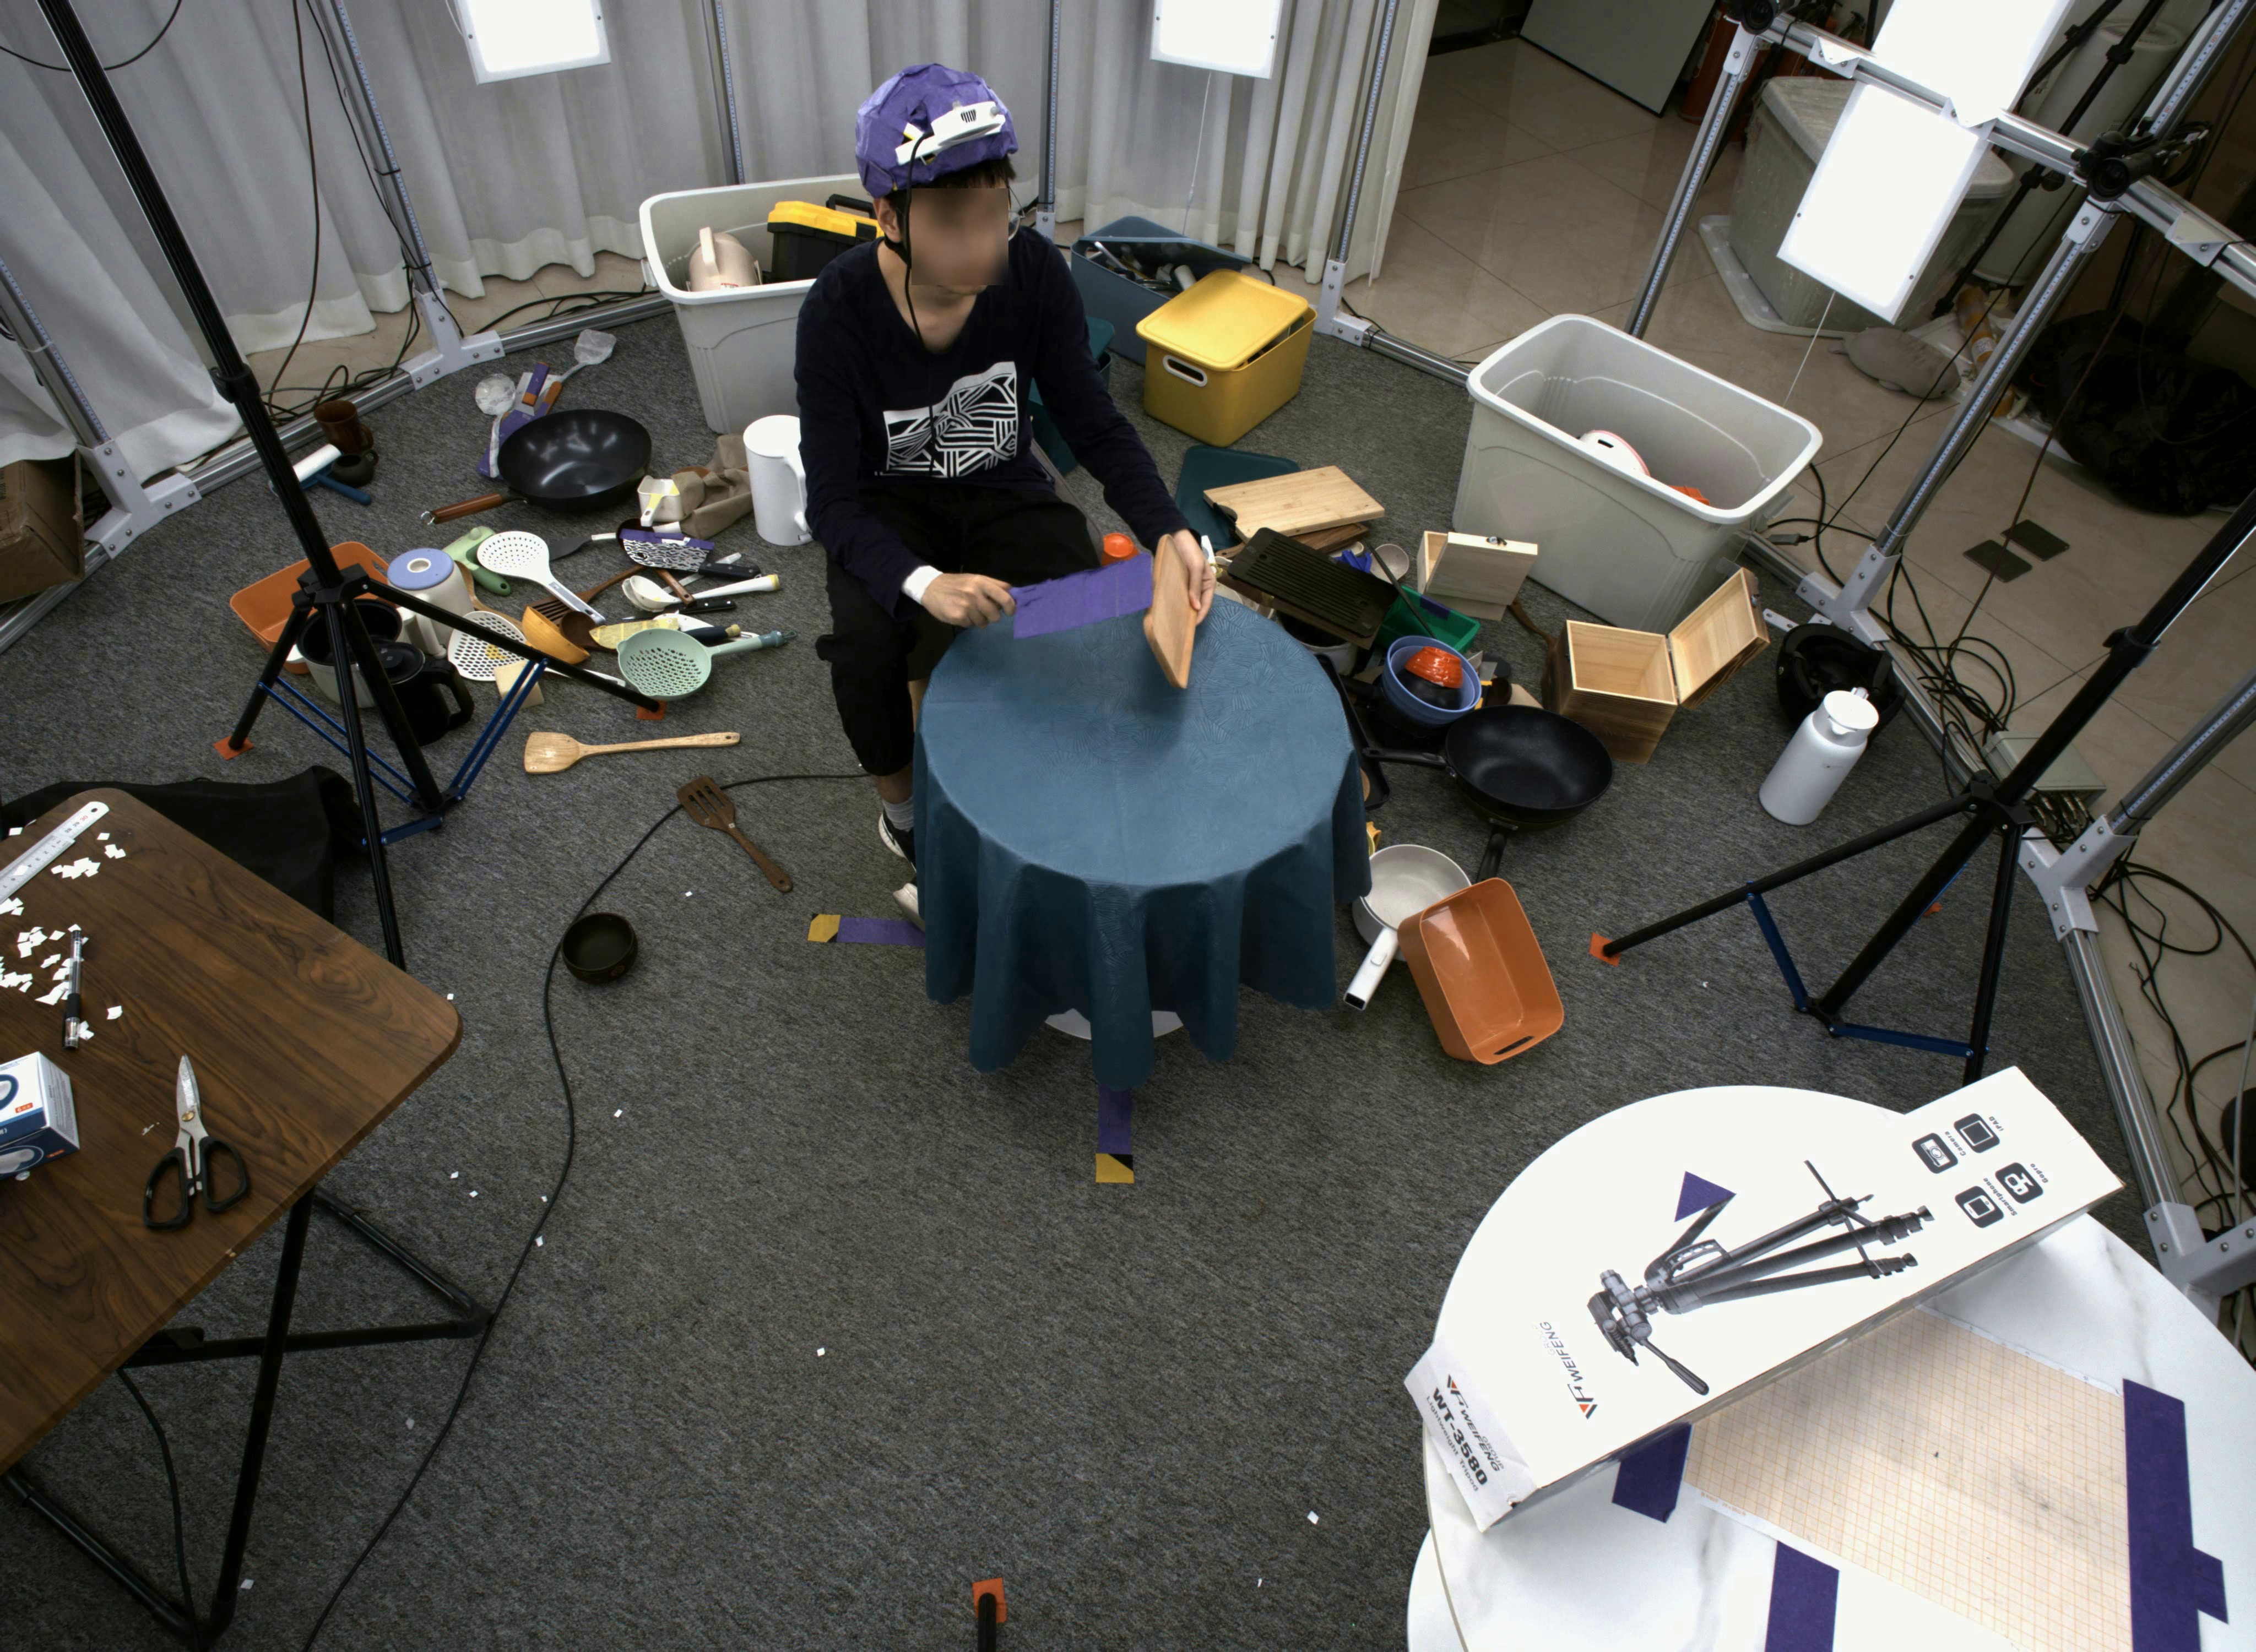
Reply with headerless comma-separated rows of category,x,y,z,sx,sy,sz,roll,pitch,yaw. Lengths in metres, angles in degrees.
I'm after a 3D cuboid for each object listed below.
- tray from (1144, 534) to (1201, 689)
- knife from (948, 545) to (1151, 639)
tray,0.065,-0.306,1.820,0.023,0.127,0.256,-13,37,19
knife,-0.112,-0.308,1.774,0.315,0.031,0.106,-12,57,24
